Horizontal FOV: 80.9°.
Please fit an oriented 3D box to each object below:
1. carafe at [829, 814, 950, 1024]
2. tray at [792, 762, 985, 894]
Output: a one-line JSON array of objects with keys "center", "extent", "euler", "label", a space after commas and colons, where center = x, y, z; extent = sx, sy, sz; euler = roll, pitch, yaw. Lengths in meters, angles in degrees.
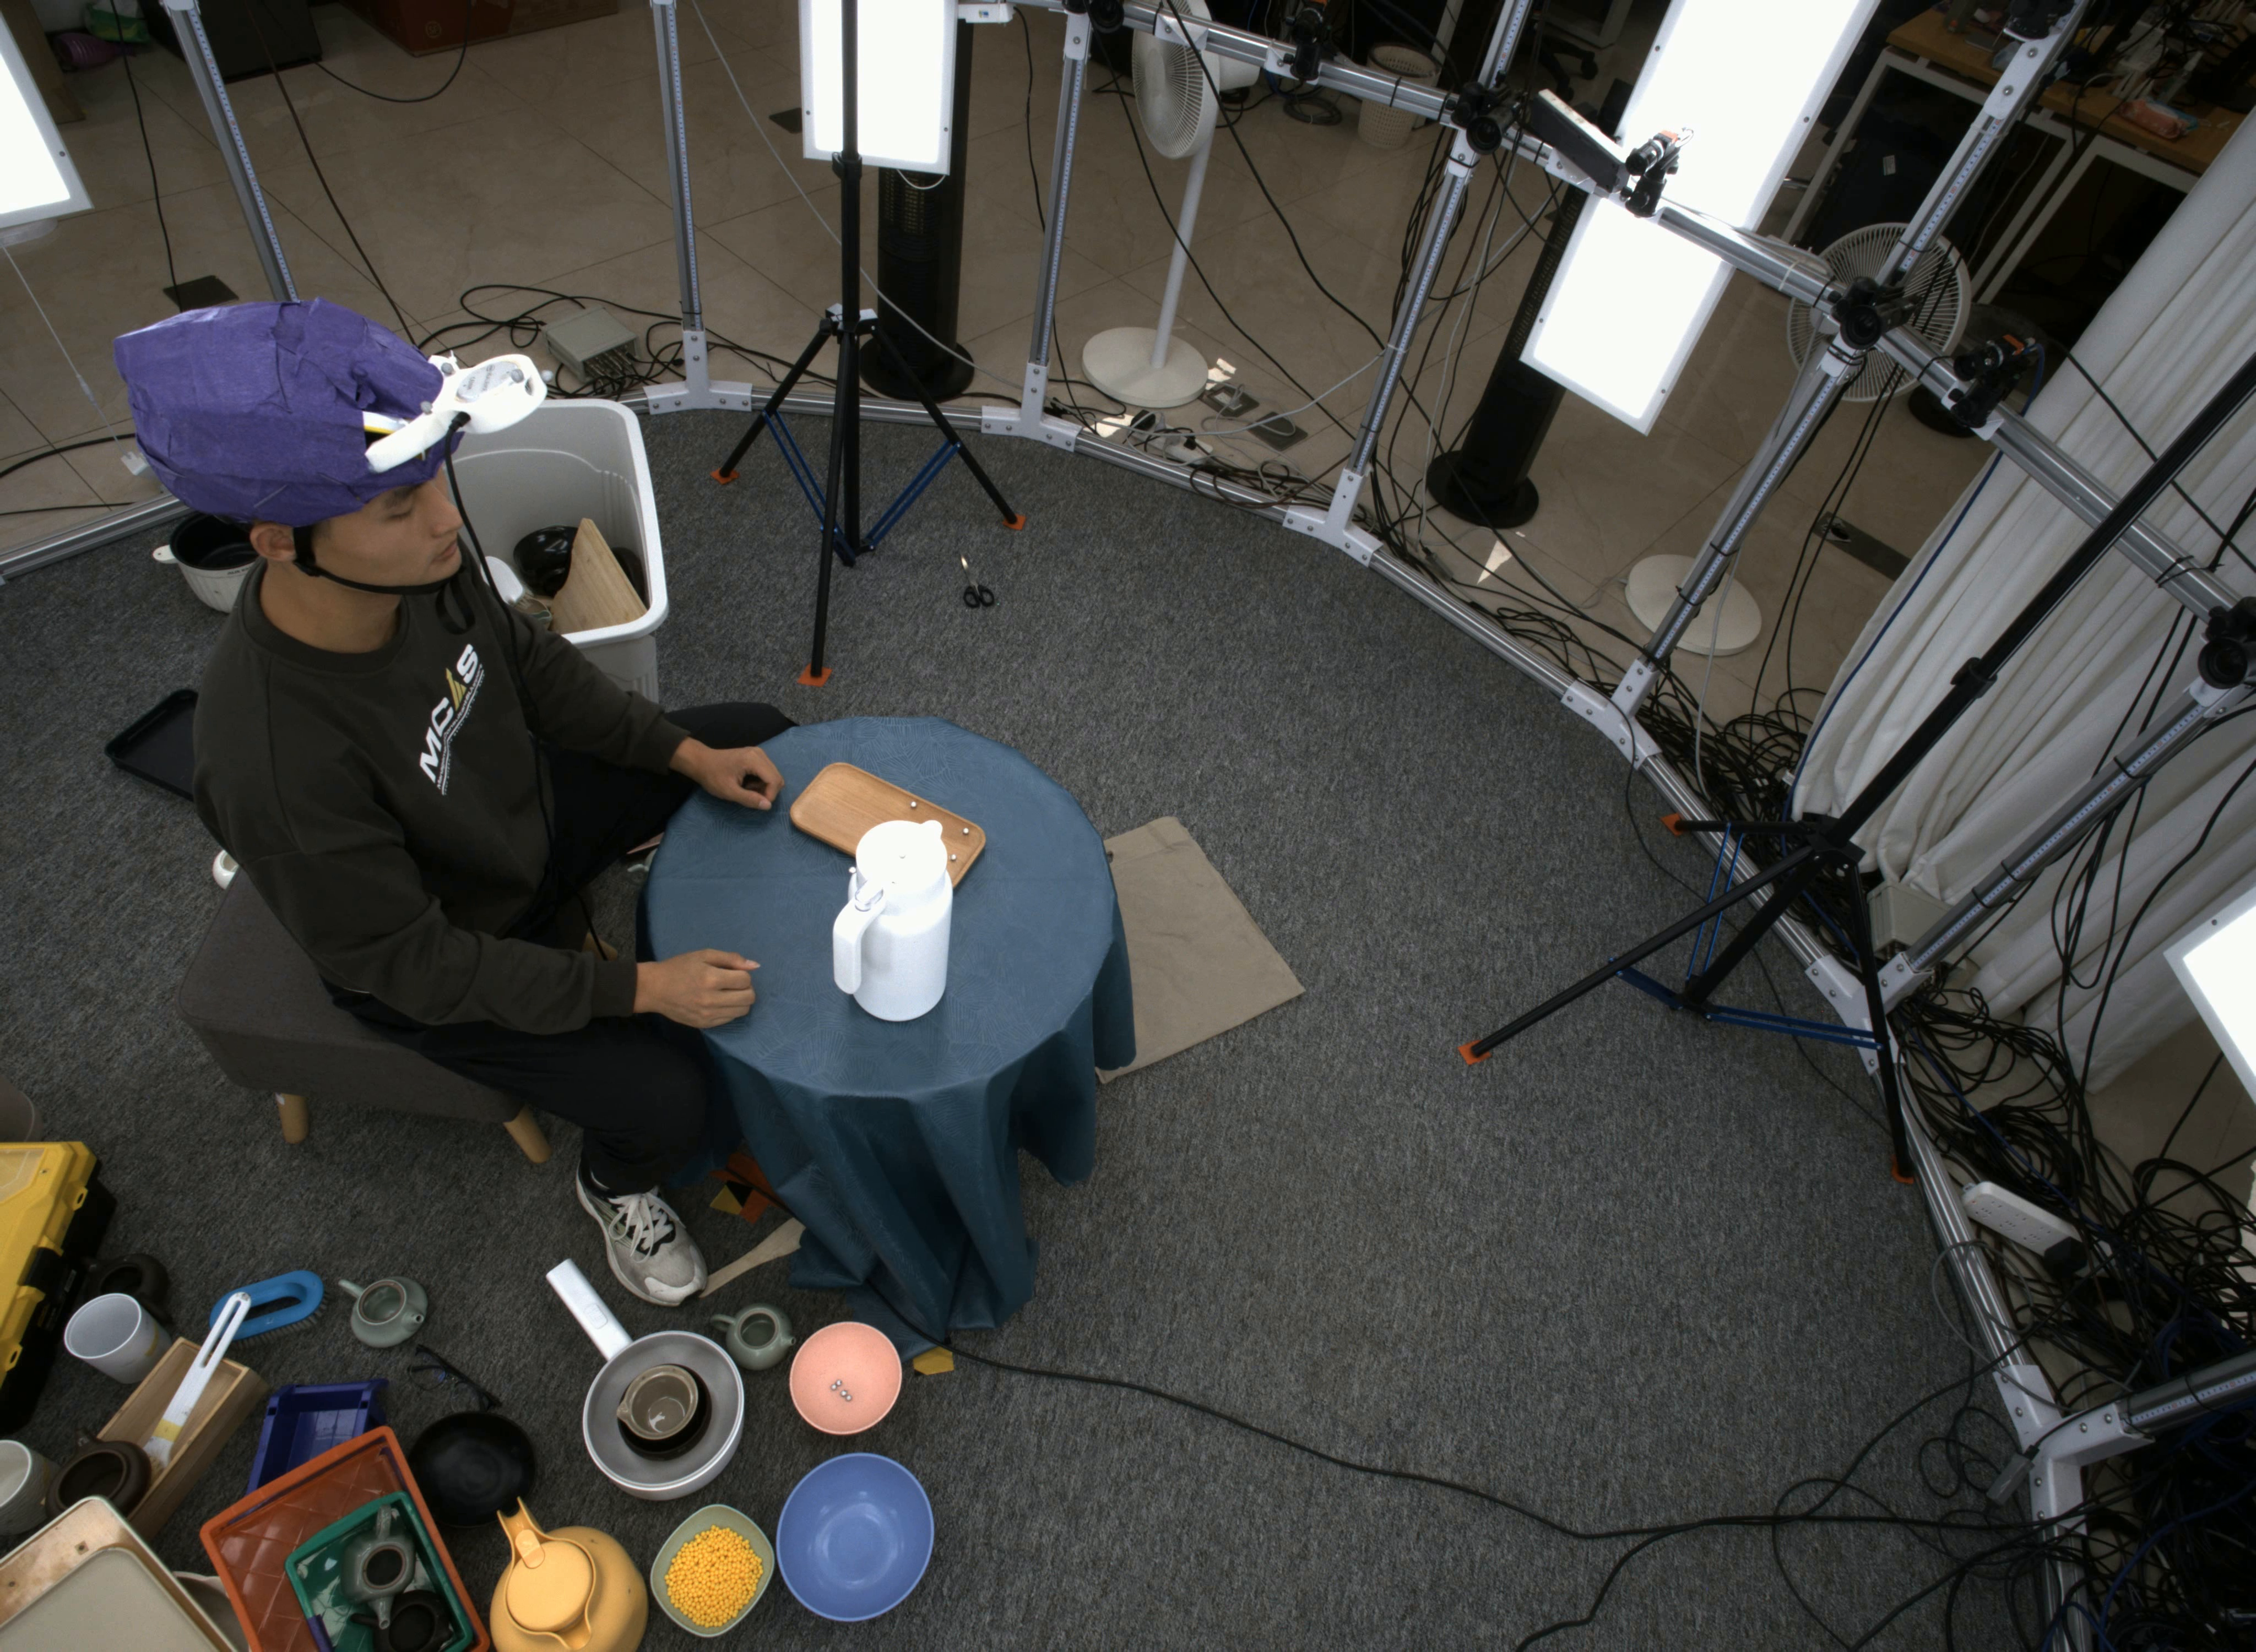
[{"center": [-0.276, 0.123, 1.506], "extent": [0.121, 0.274, 0.172], "euler": [30, 53, 12], "label": "carafe"}, {"center": [-0.321, 0.002, 1.748], "extent": [0.246, 0.023, 0.130], "euler": [26, 50, 8], "label": "tray"}]
